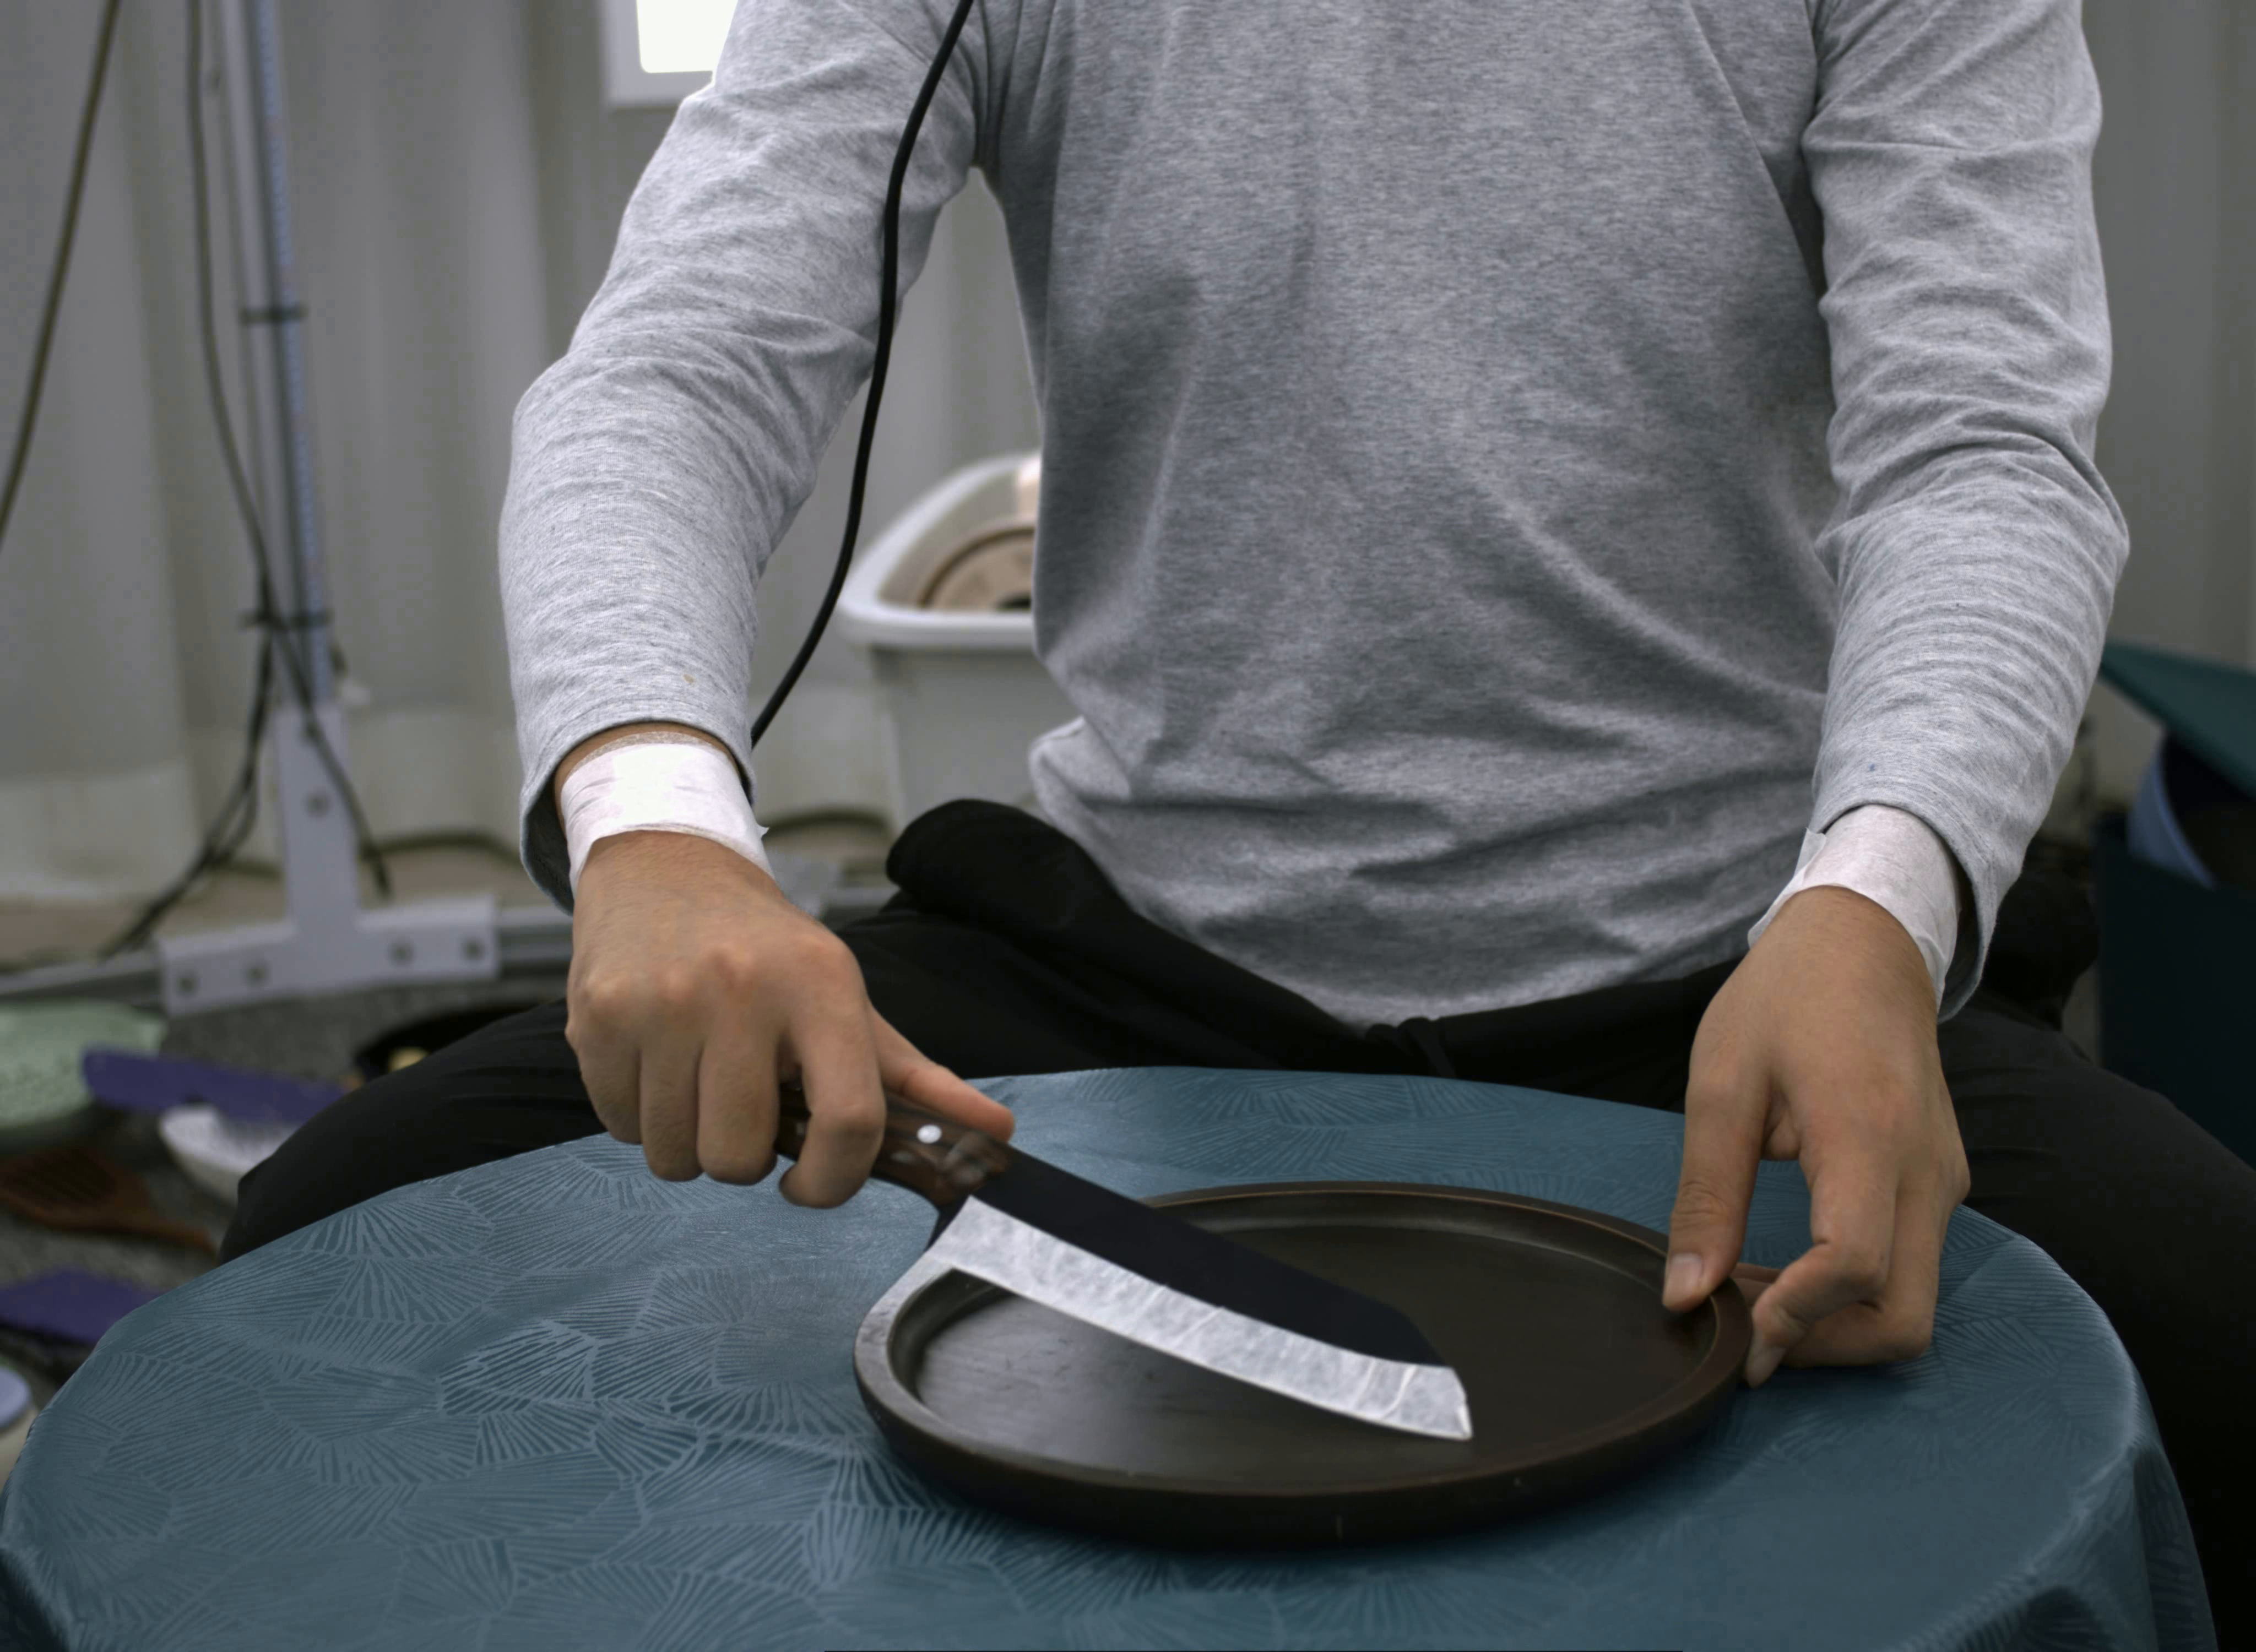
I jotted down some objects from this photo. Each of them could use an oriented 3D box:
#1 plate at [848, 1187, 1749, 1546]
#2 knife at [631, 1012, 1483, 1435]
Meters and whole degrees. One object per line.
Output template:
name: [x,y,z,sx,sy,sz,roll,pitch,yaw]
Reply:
plate: [0.048,0.148,1.532,0.254,0.029,0.256,-4,13,1]
knife: [-0.024,0.111,1.533,0.291,0.020,0.050,22,53,26]
